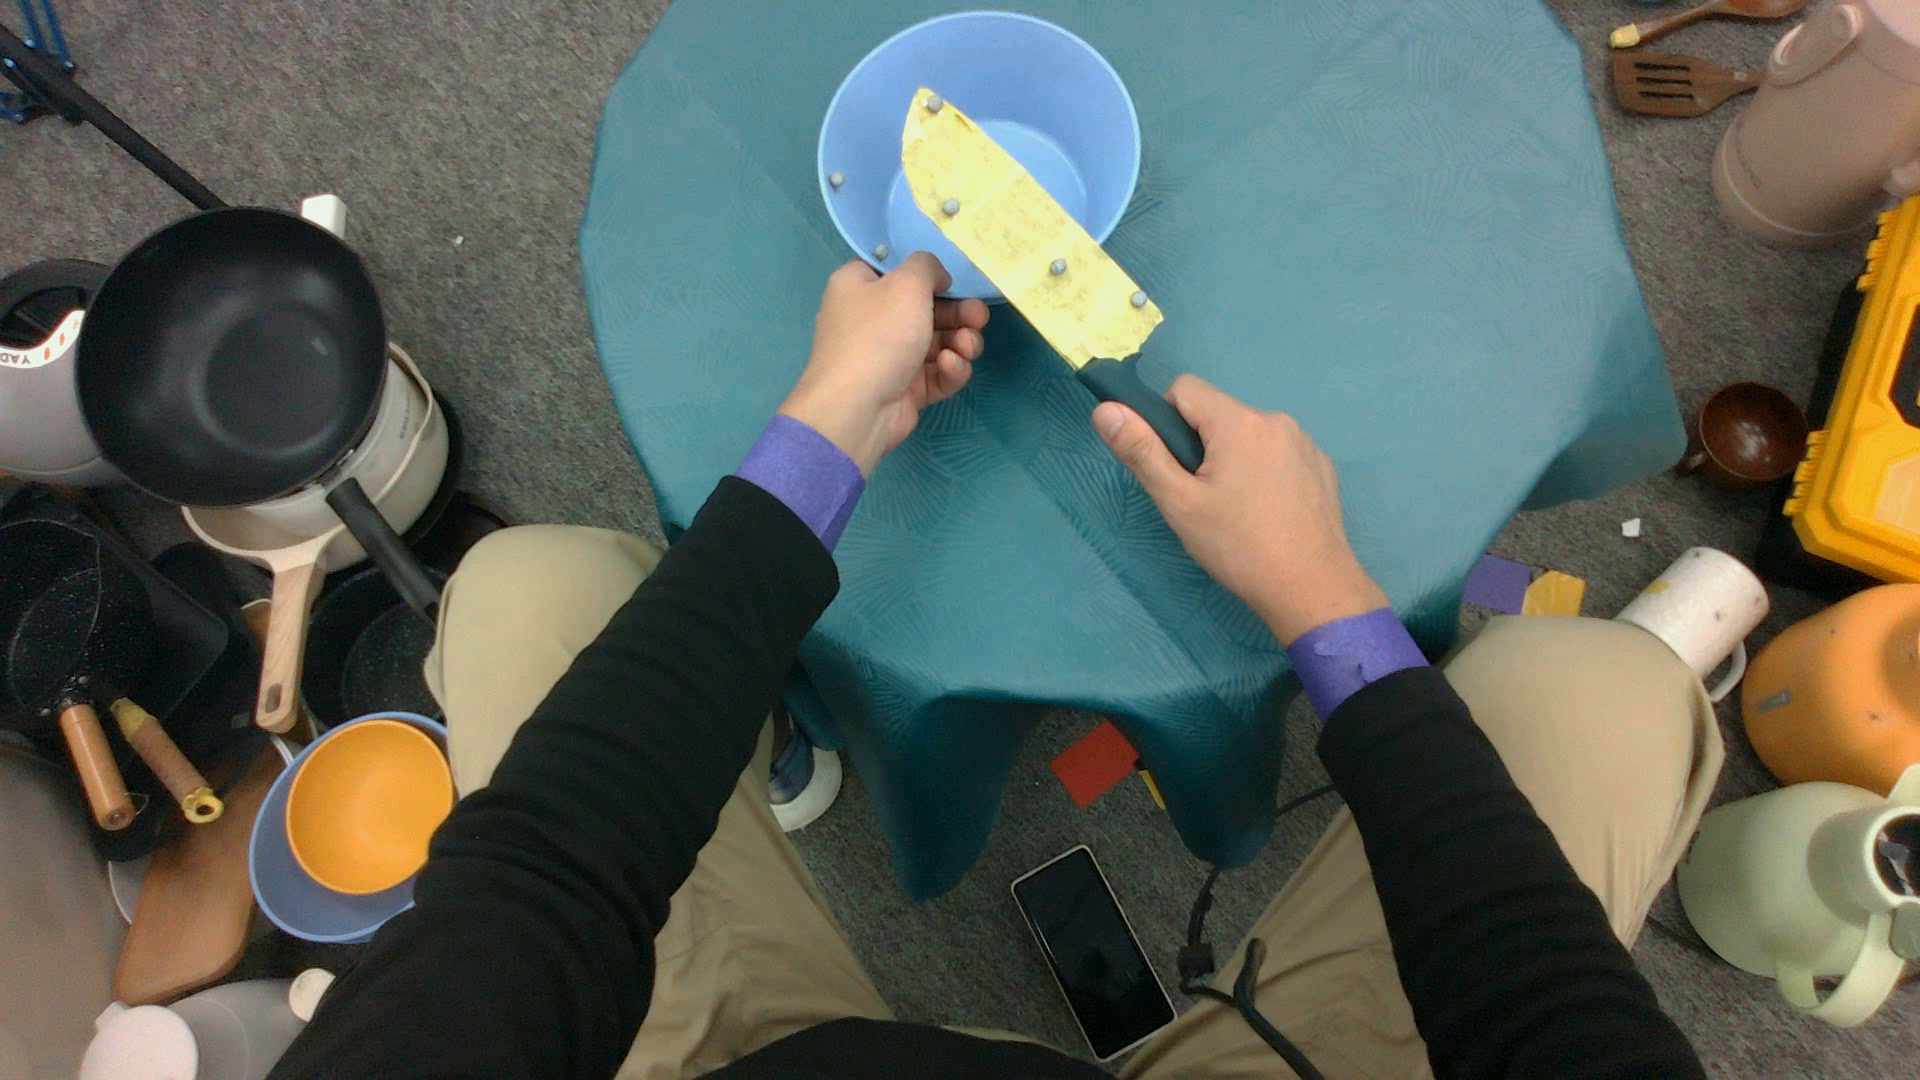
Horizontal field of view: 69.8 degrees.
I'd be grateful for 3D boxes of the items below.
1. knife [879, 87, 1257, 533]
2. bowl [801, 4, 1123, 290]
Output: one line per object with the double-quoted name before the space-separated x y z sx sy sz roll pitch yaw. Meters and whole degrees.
"knife" 0.059 -0.120 0.707 0.289 0.027 0.081 49 57 -5
"bowl" 0.003 -0.209 0.780 0.176 0.070 0.176 -1 72 3
